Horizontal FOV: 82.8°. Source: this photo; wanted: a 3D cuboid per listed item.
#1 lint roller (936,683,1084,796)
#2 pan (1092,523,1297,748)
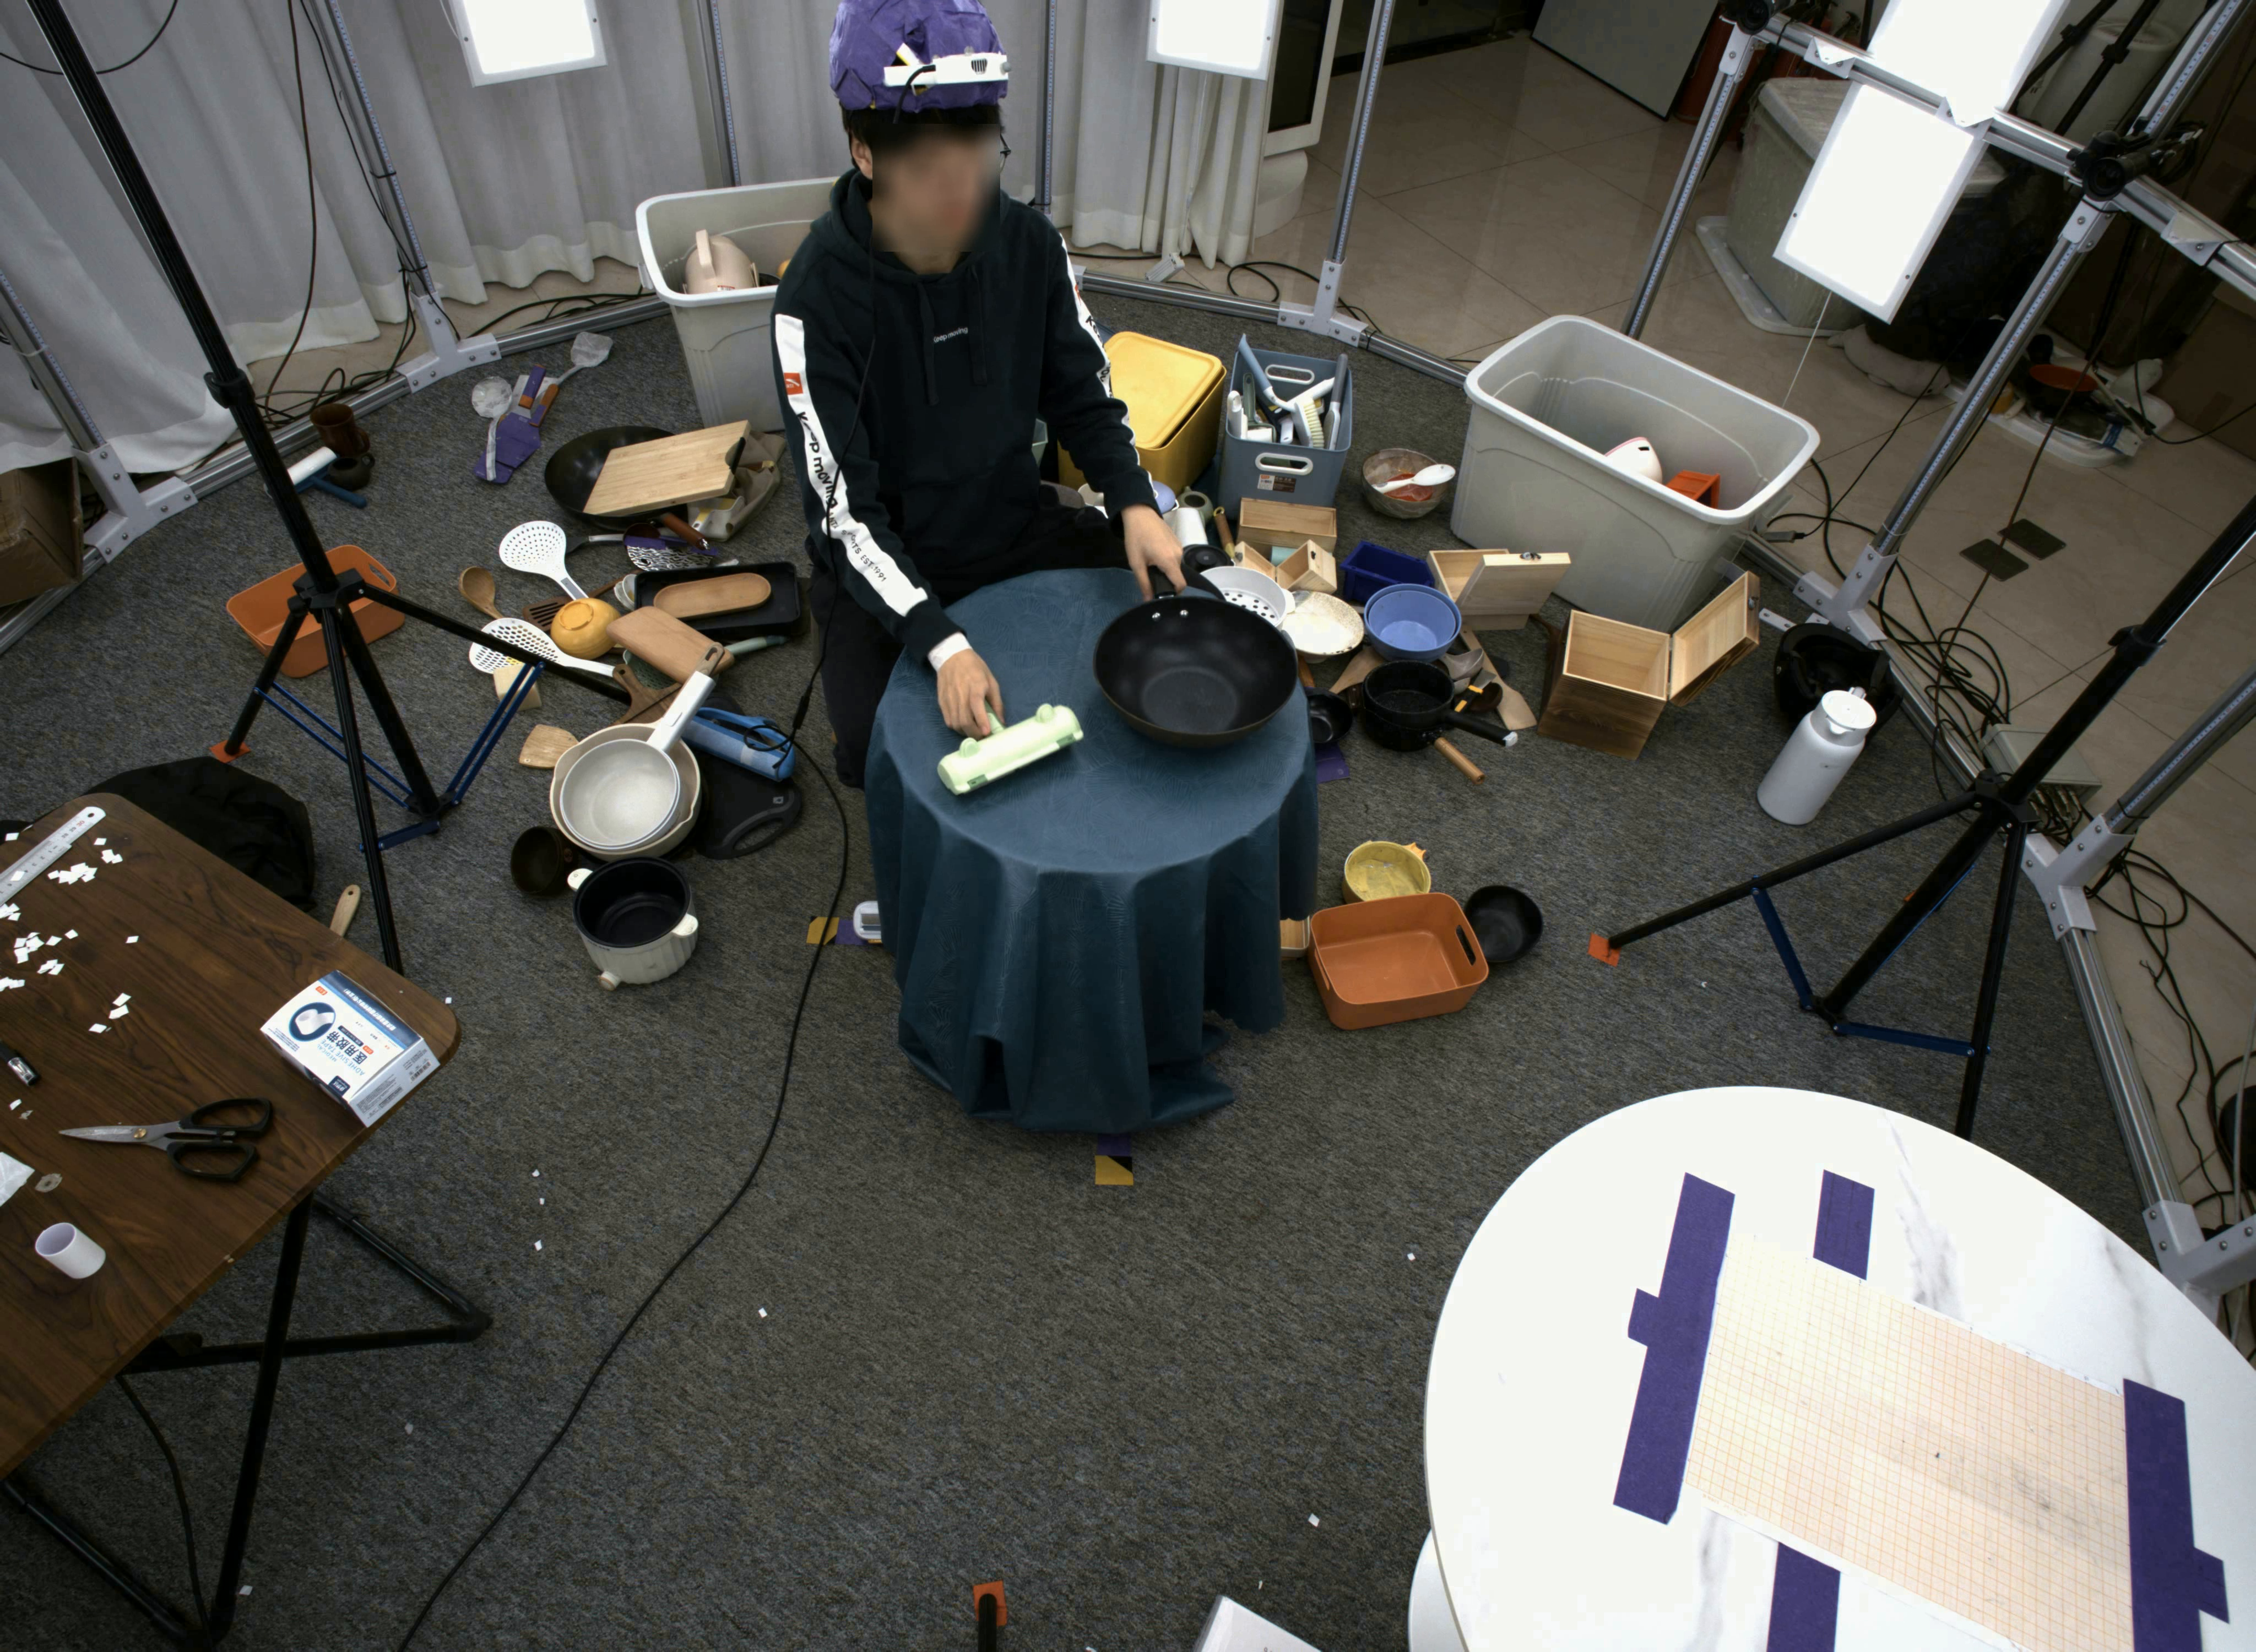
[{"bbox_3d":[-0.186,-0.145,1.727,0.199,0.080,0.187,-25,62,-21],"label":"lint roller"},{"bbox_3d":[0.068,-0.270,1.853,0.288,0.085,0.475,-9,49,-11],"label":"pan"}]
